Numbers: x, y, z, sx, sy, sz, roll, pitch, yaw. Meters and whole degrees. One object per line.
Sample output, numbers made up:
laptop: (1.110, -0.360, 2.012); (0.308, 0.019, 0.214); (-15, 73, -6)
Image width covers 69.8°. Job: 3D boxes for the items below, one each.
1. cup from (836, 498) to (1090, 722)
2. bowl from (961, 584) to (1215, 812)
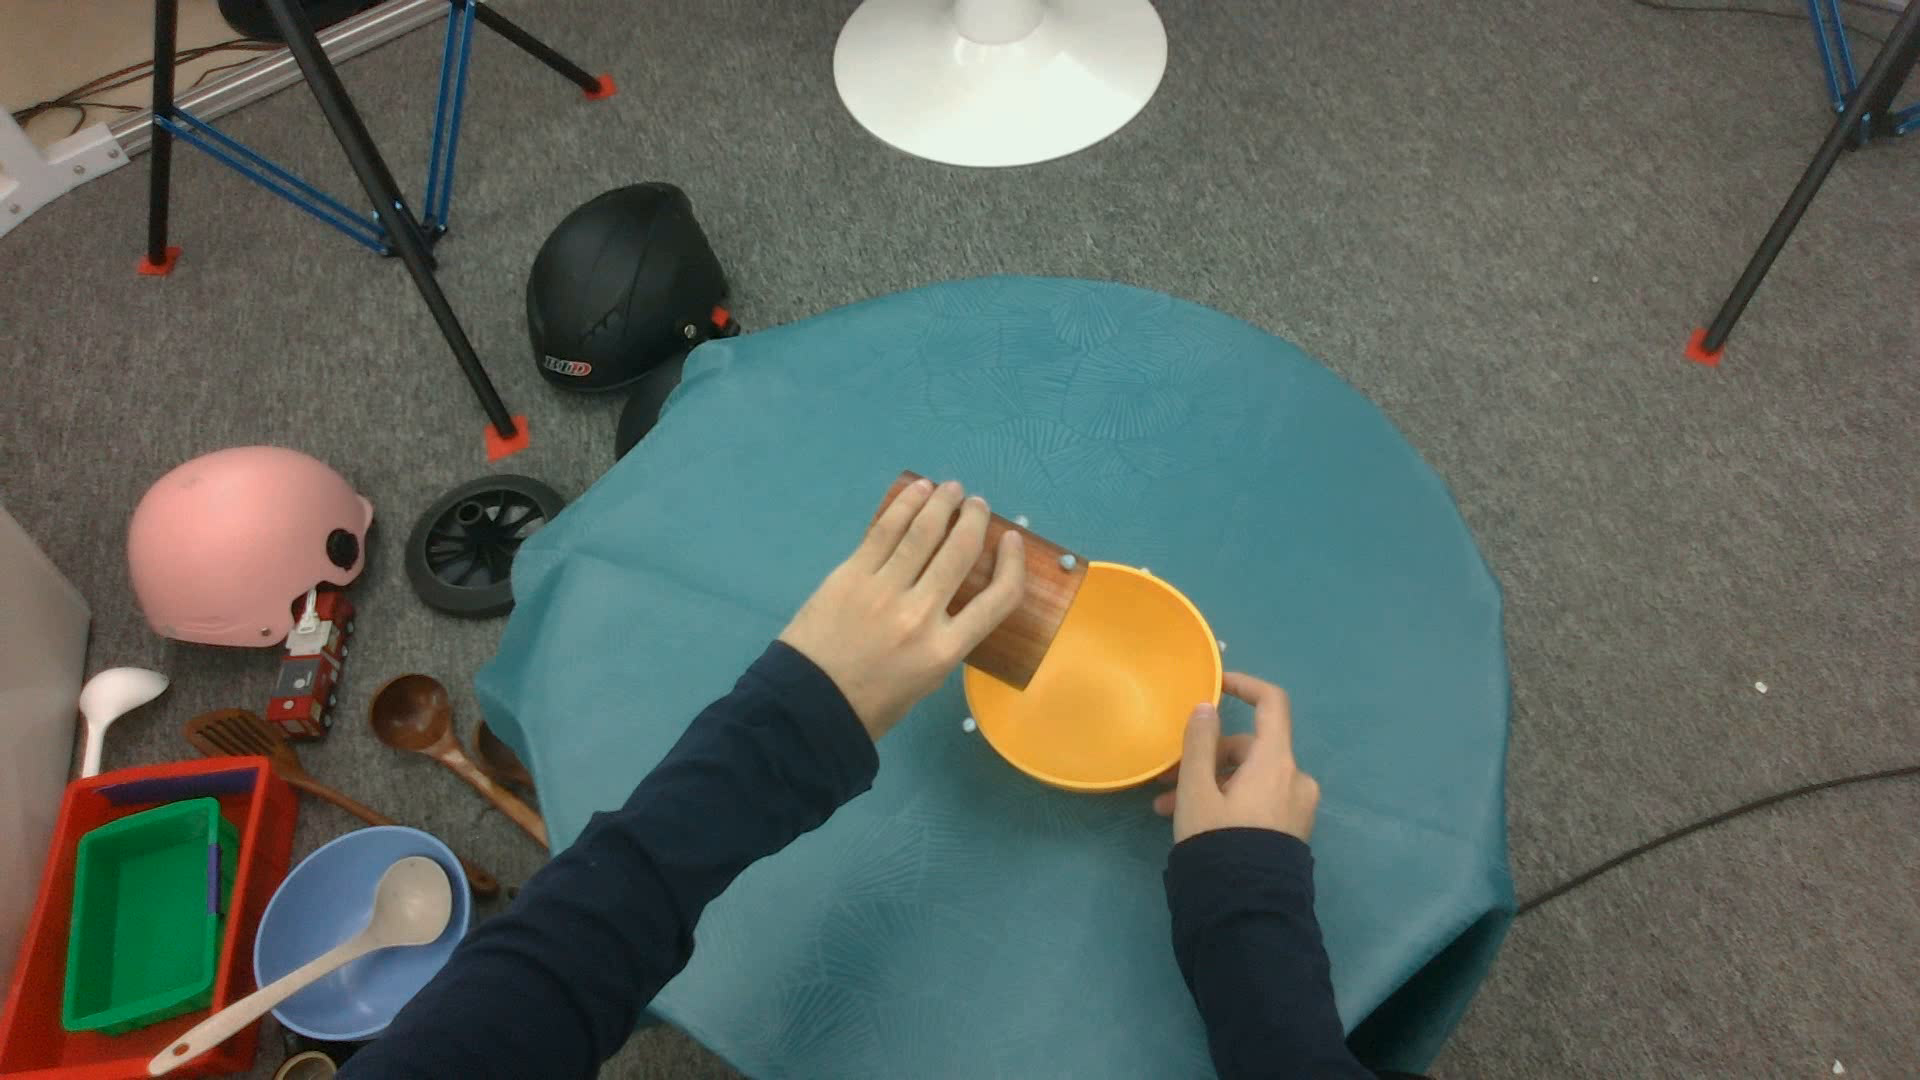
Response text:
cup: (0.002, 0.038, 0.757); (0.118, 0.087, 0.088); (26, 60, 6)
bowl: (0.075, 0.101, 0.807); (0.145, 0.060, 0.146); (-3, 55, 4)
